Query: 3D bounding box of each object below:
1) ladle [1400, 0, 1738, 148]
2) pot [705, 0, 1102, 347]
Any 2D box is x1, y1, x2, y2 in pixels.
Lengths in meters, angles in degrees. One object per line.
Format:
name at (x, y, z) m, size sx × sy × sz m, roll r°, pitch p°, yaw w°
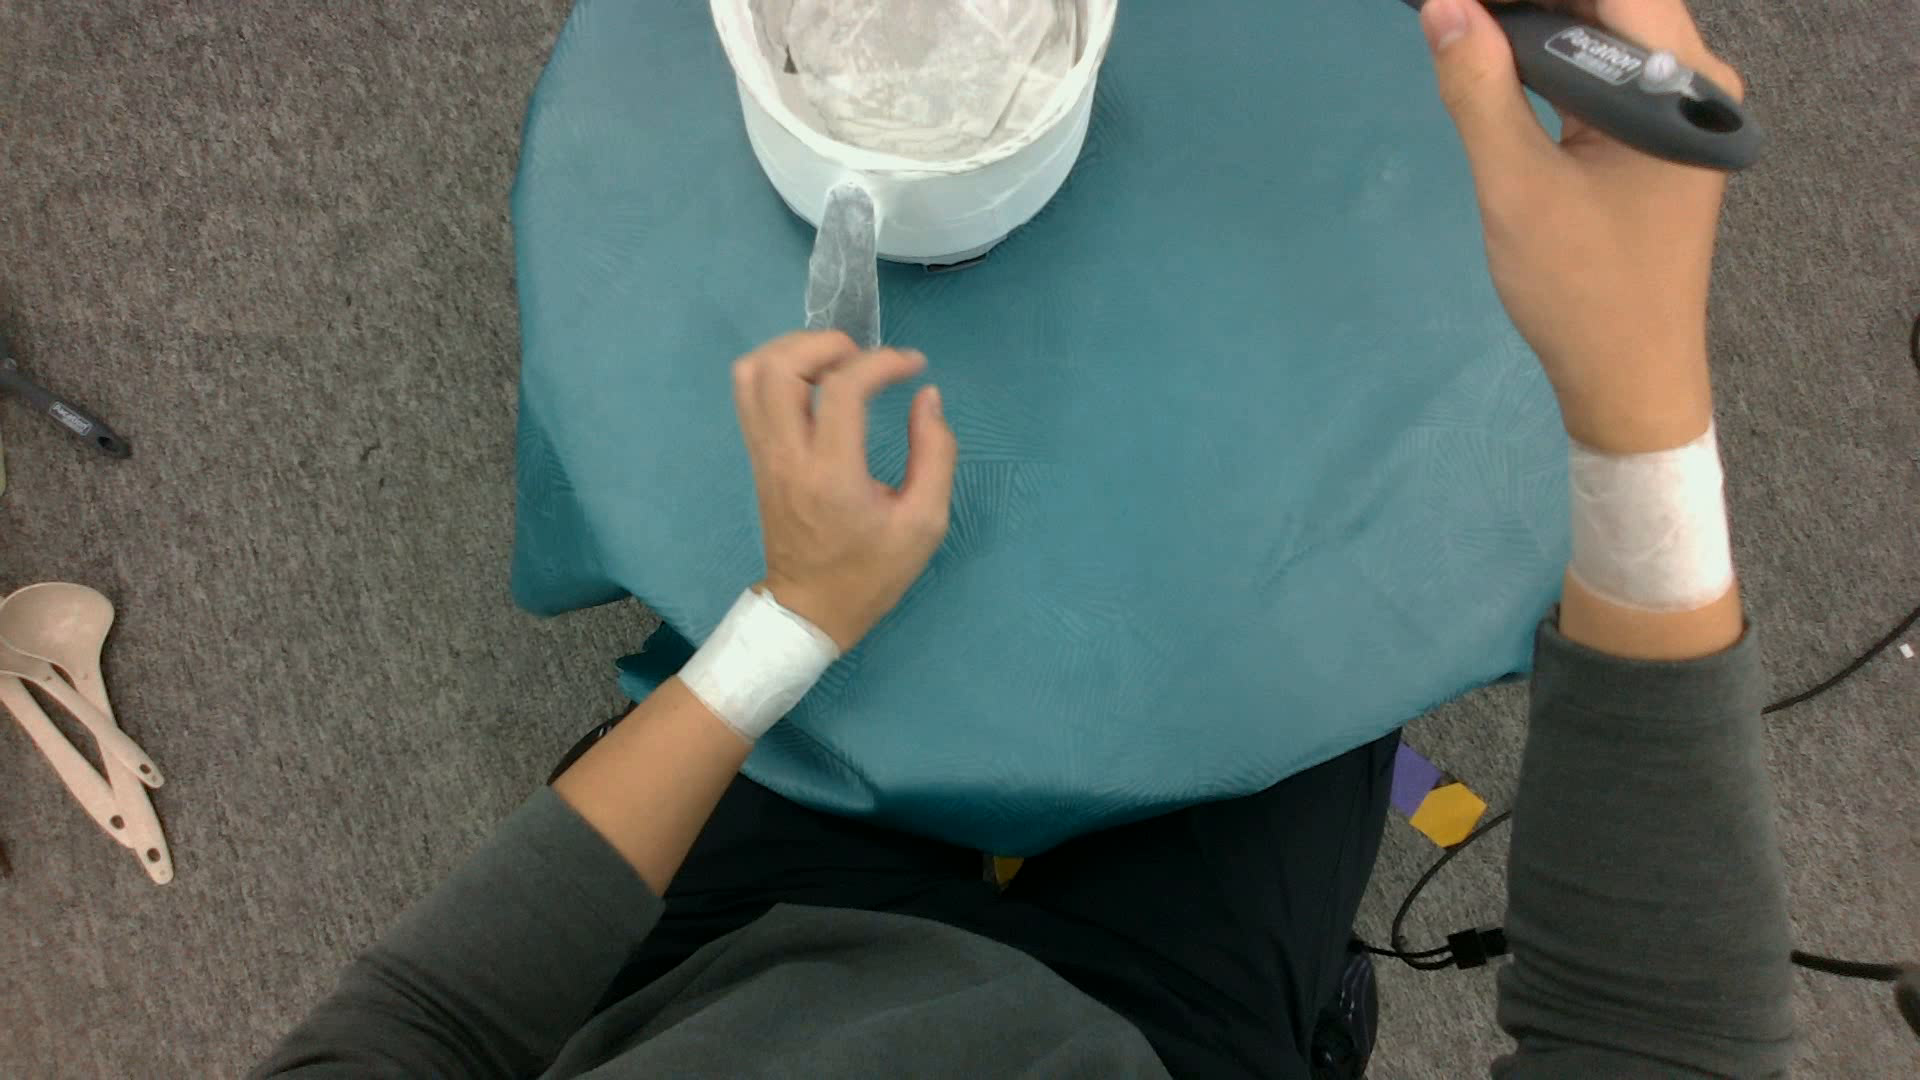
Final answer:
ladle at (0.131, -0.202, 0.436) m, size 0.086 × 0.315 × 0.064 m, roll -33°, pitch 128°, yaw 7°
pot at (-0.034, -0.213, 0.659) m, size 0.179 × 0.136 × 0.234 m, roll 15°, pitch 81°, yaw 0°
